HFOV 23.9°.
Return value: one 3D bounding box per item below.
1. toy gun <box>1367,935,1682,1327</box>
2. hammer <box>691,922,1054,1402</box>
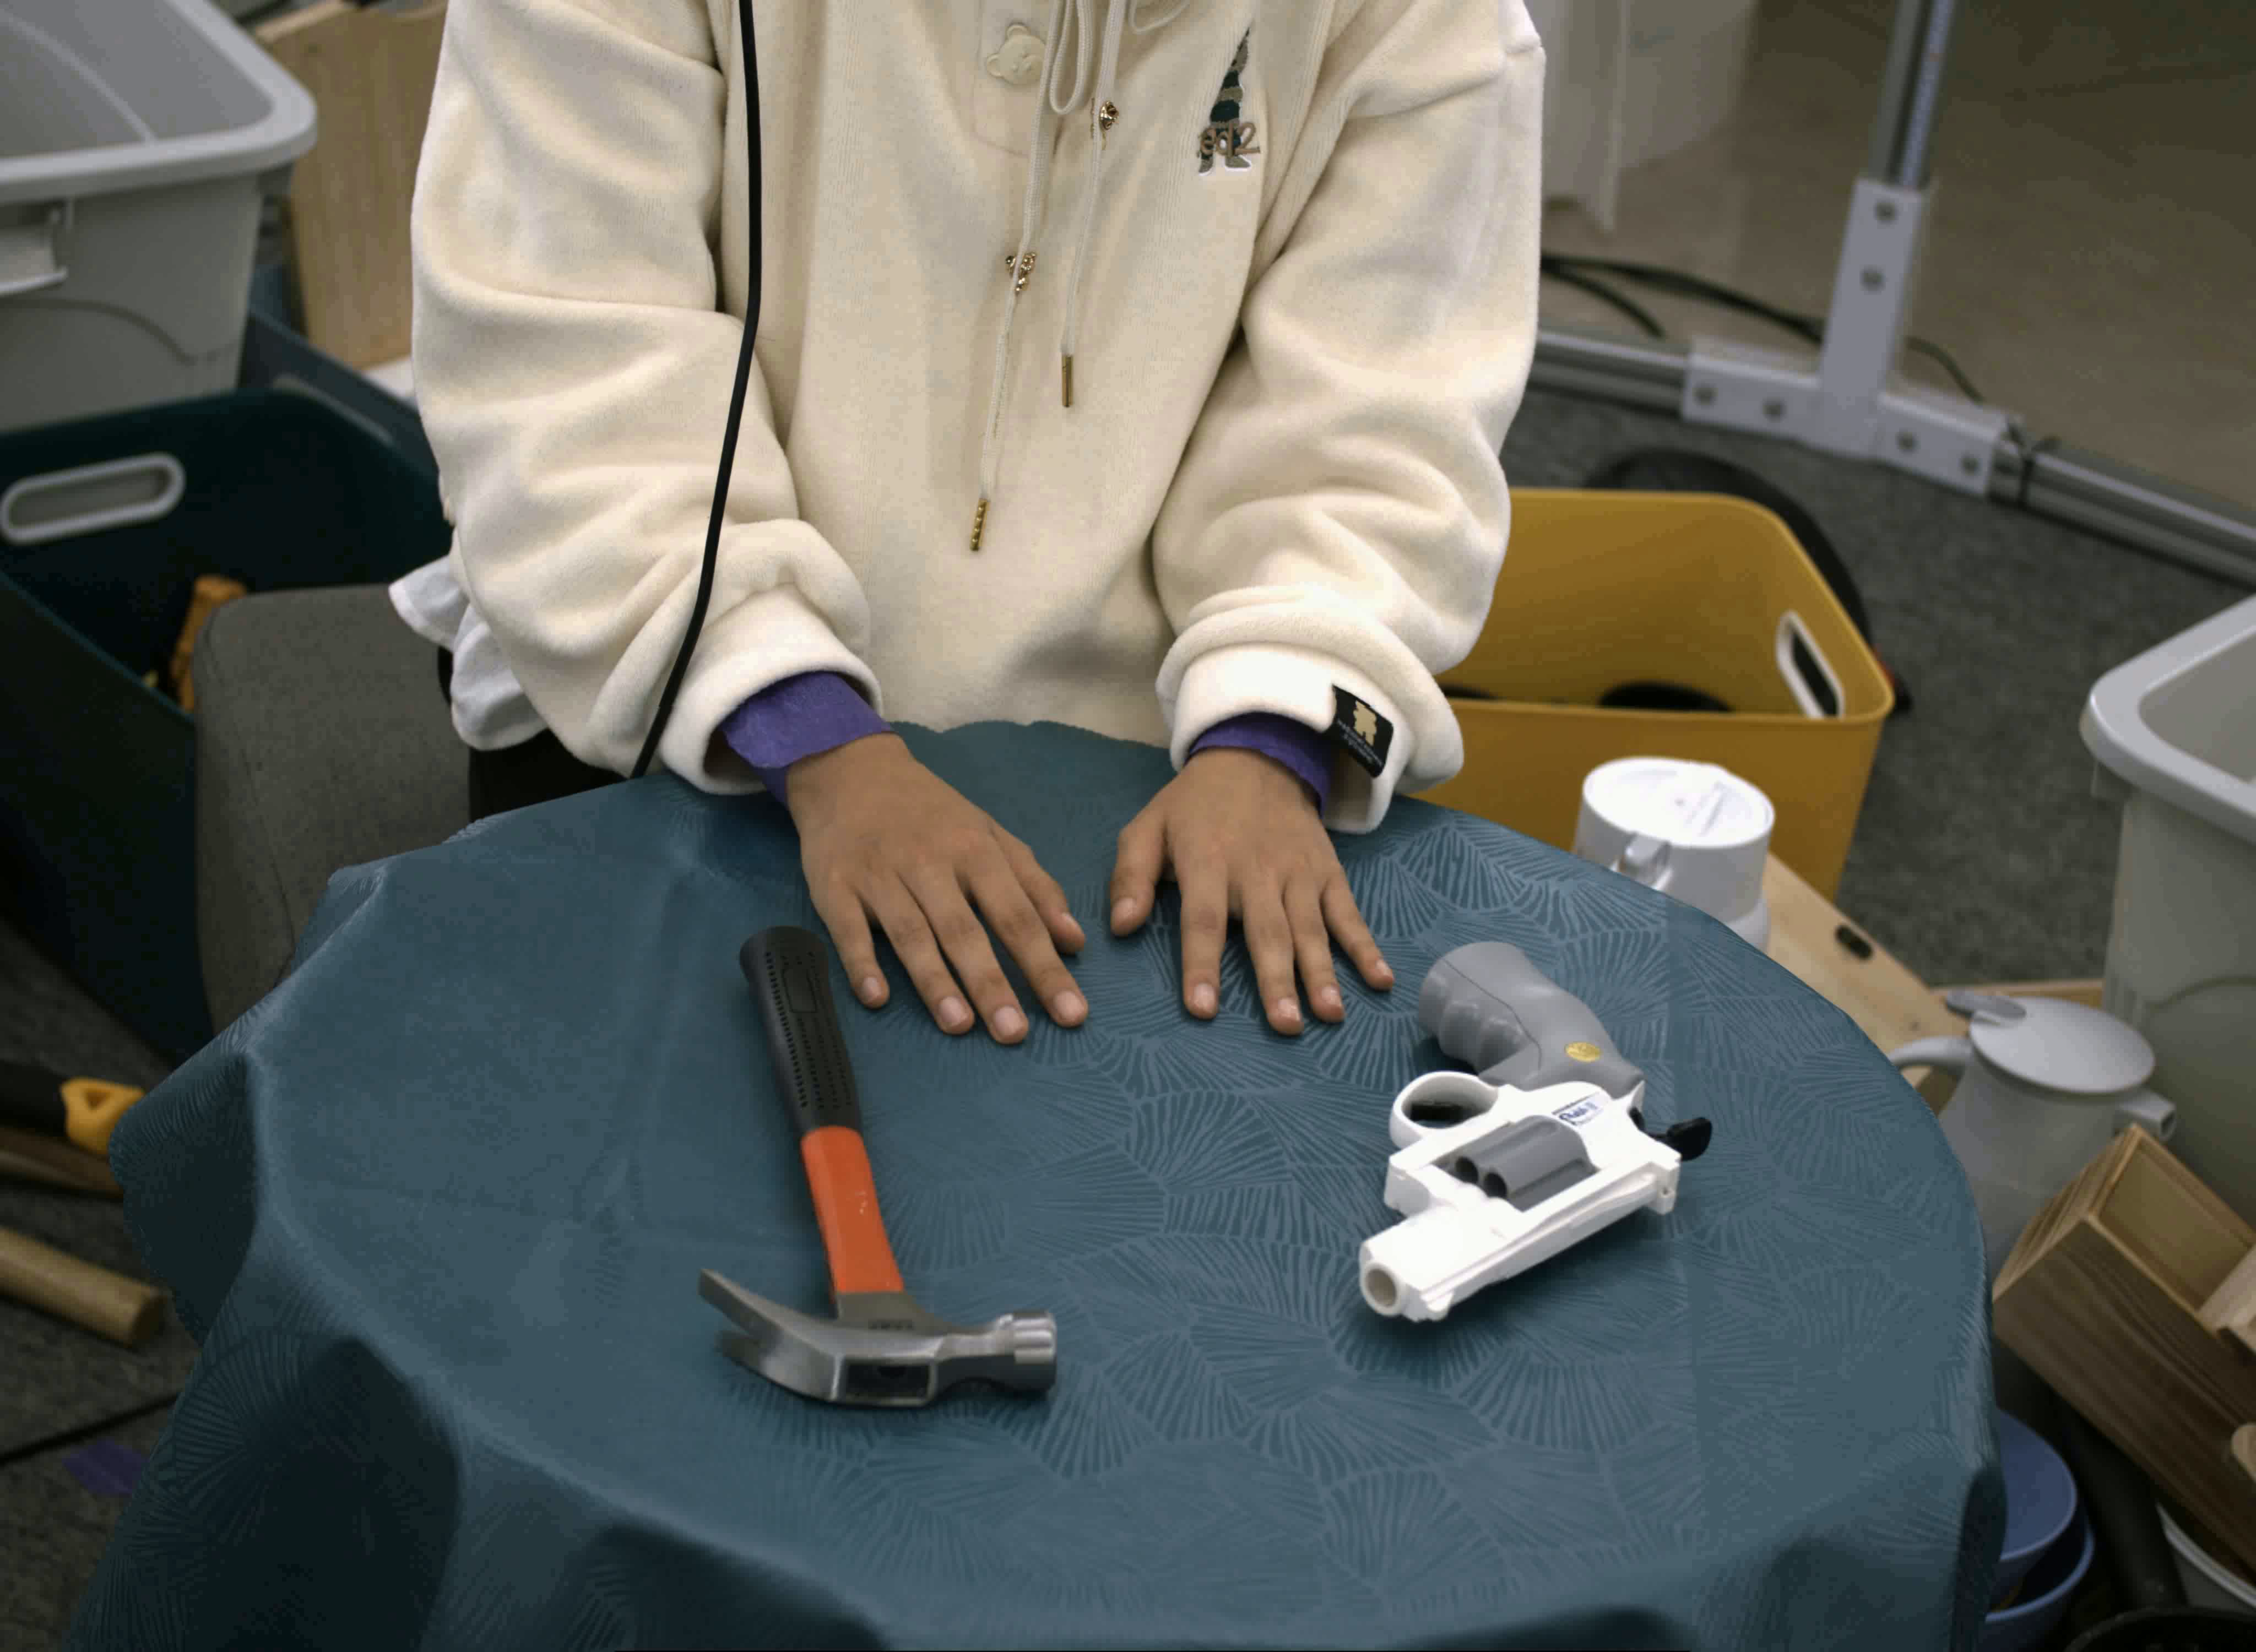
[{"bbox_3d":[0.117,0.103,1.824,0.142,0.038,0.208,27,34,32],"label":"toy gun"},{"bbox_3d":[-0.101,0.107,1.780,0.110,0.026,0.279,-7,28,-7],"label":"hammer"}]
